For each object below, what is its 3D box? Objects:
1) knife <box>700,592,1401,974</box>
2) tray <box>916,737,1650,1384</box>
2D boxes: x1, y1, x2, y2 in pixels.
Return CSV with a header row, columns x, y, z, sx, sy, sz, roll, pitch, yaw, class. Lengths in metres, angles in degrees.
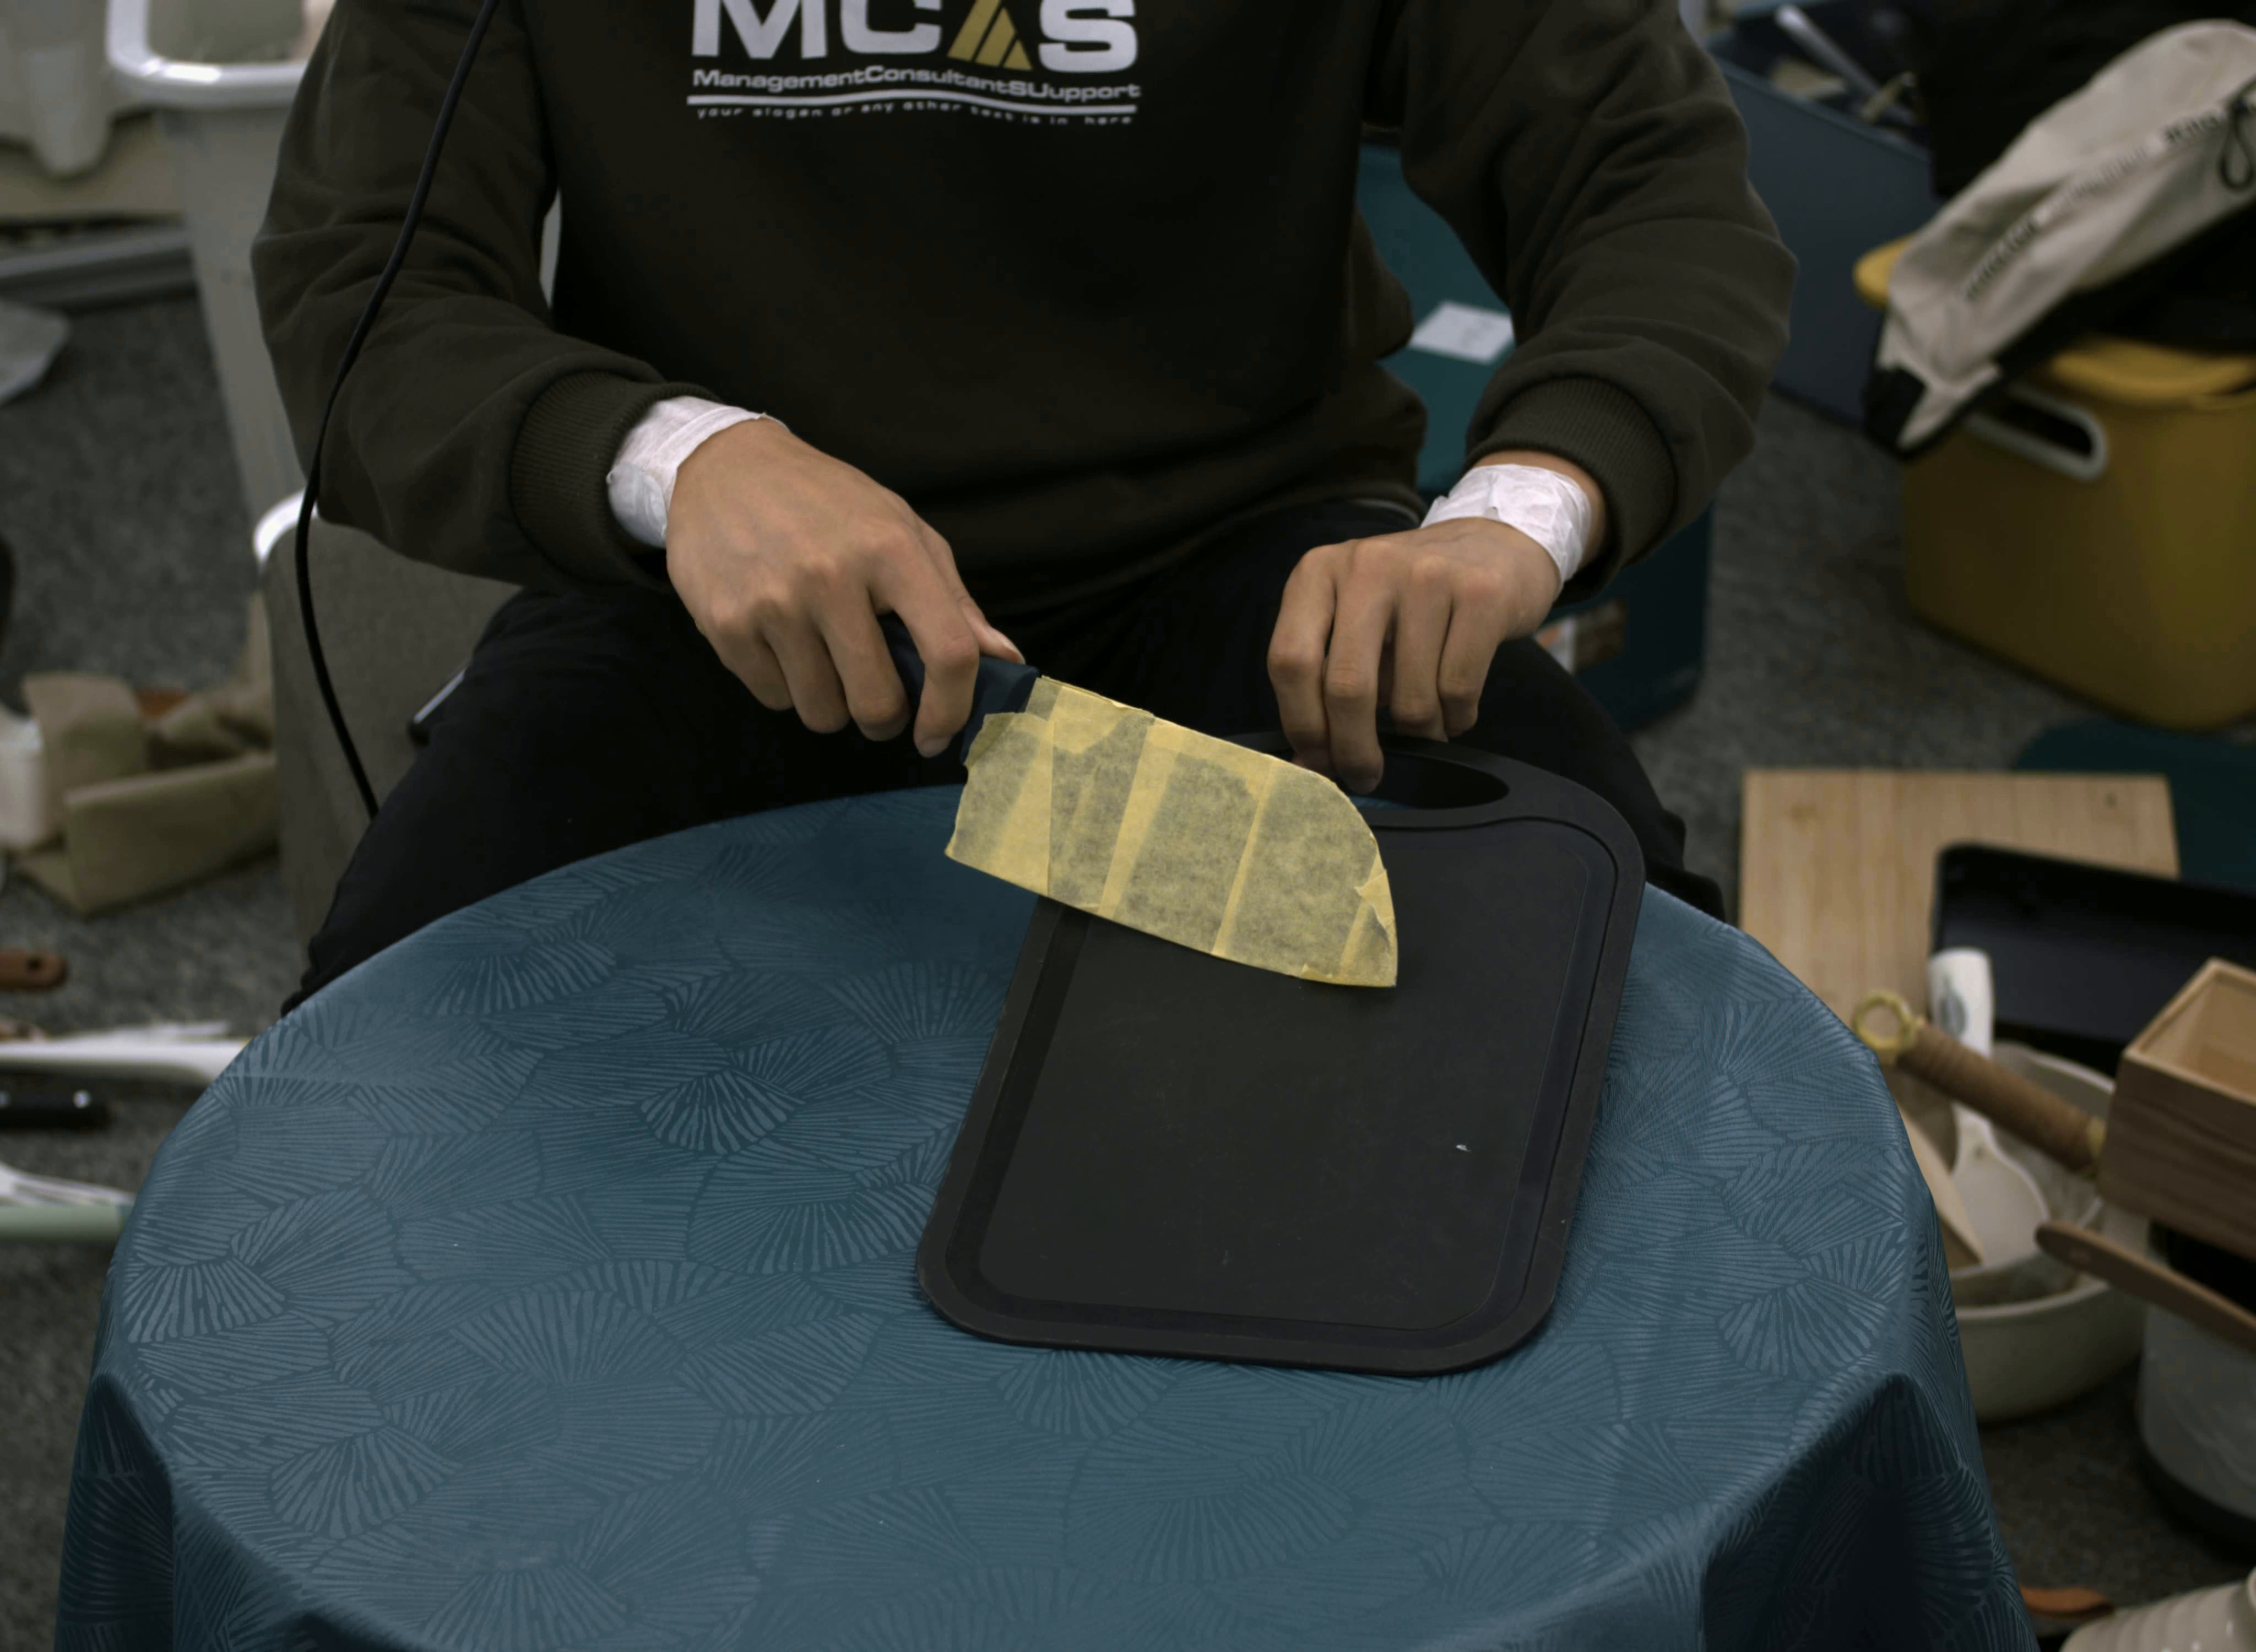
x,y,z,sx,sy,sz,roll,pitch,yaw,class
-0.031,-0.017,1.961,0.289,0.081,0.027,23,2,22,knife
0.058,0.068,1.894,0.210,0.009,0.332,5,38,12,tray
